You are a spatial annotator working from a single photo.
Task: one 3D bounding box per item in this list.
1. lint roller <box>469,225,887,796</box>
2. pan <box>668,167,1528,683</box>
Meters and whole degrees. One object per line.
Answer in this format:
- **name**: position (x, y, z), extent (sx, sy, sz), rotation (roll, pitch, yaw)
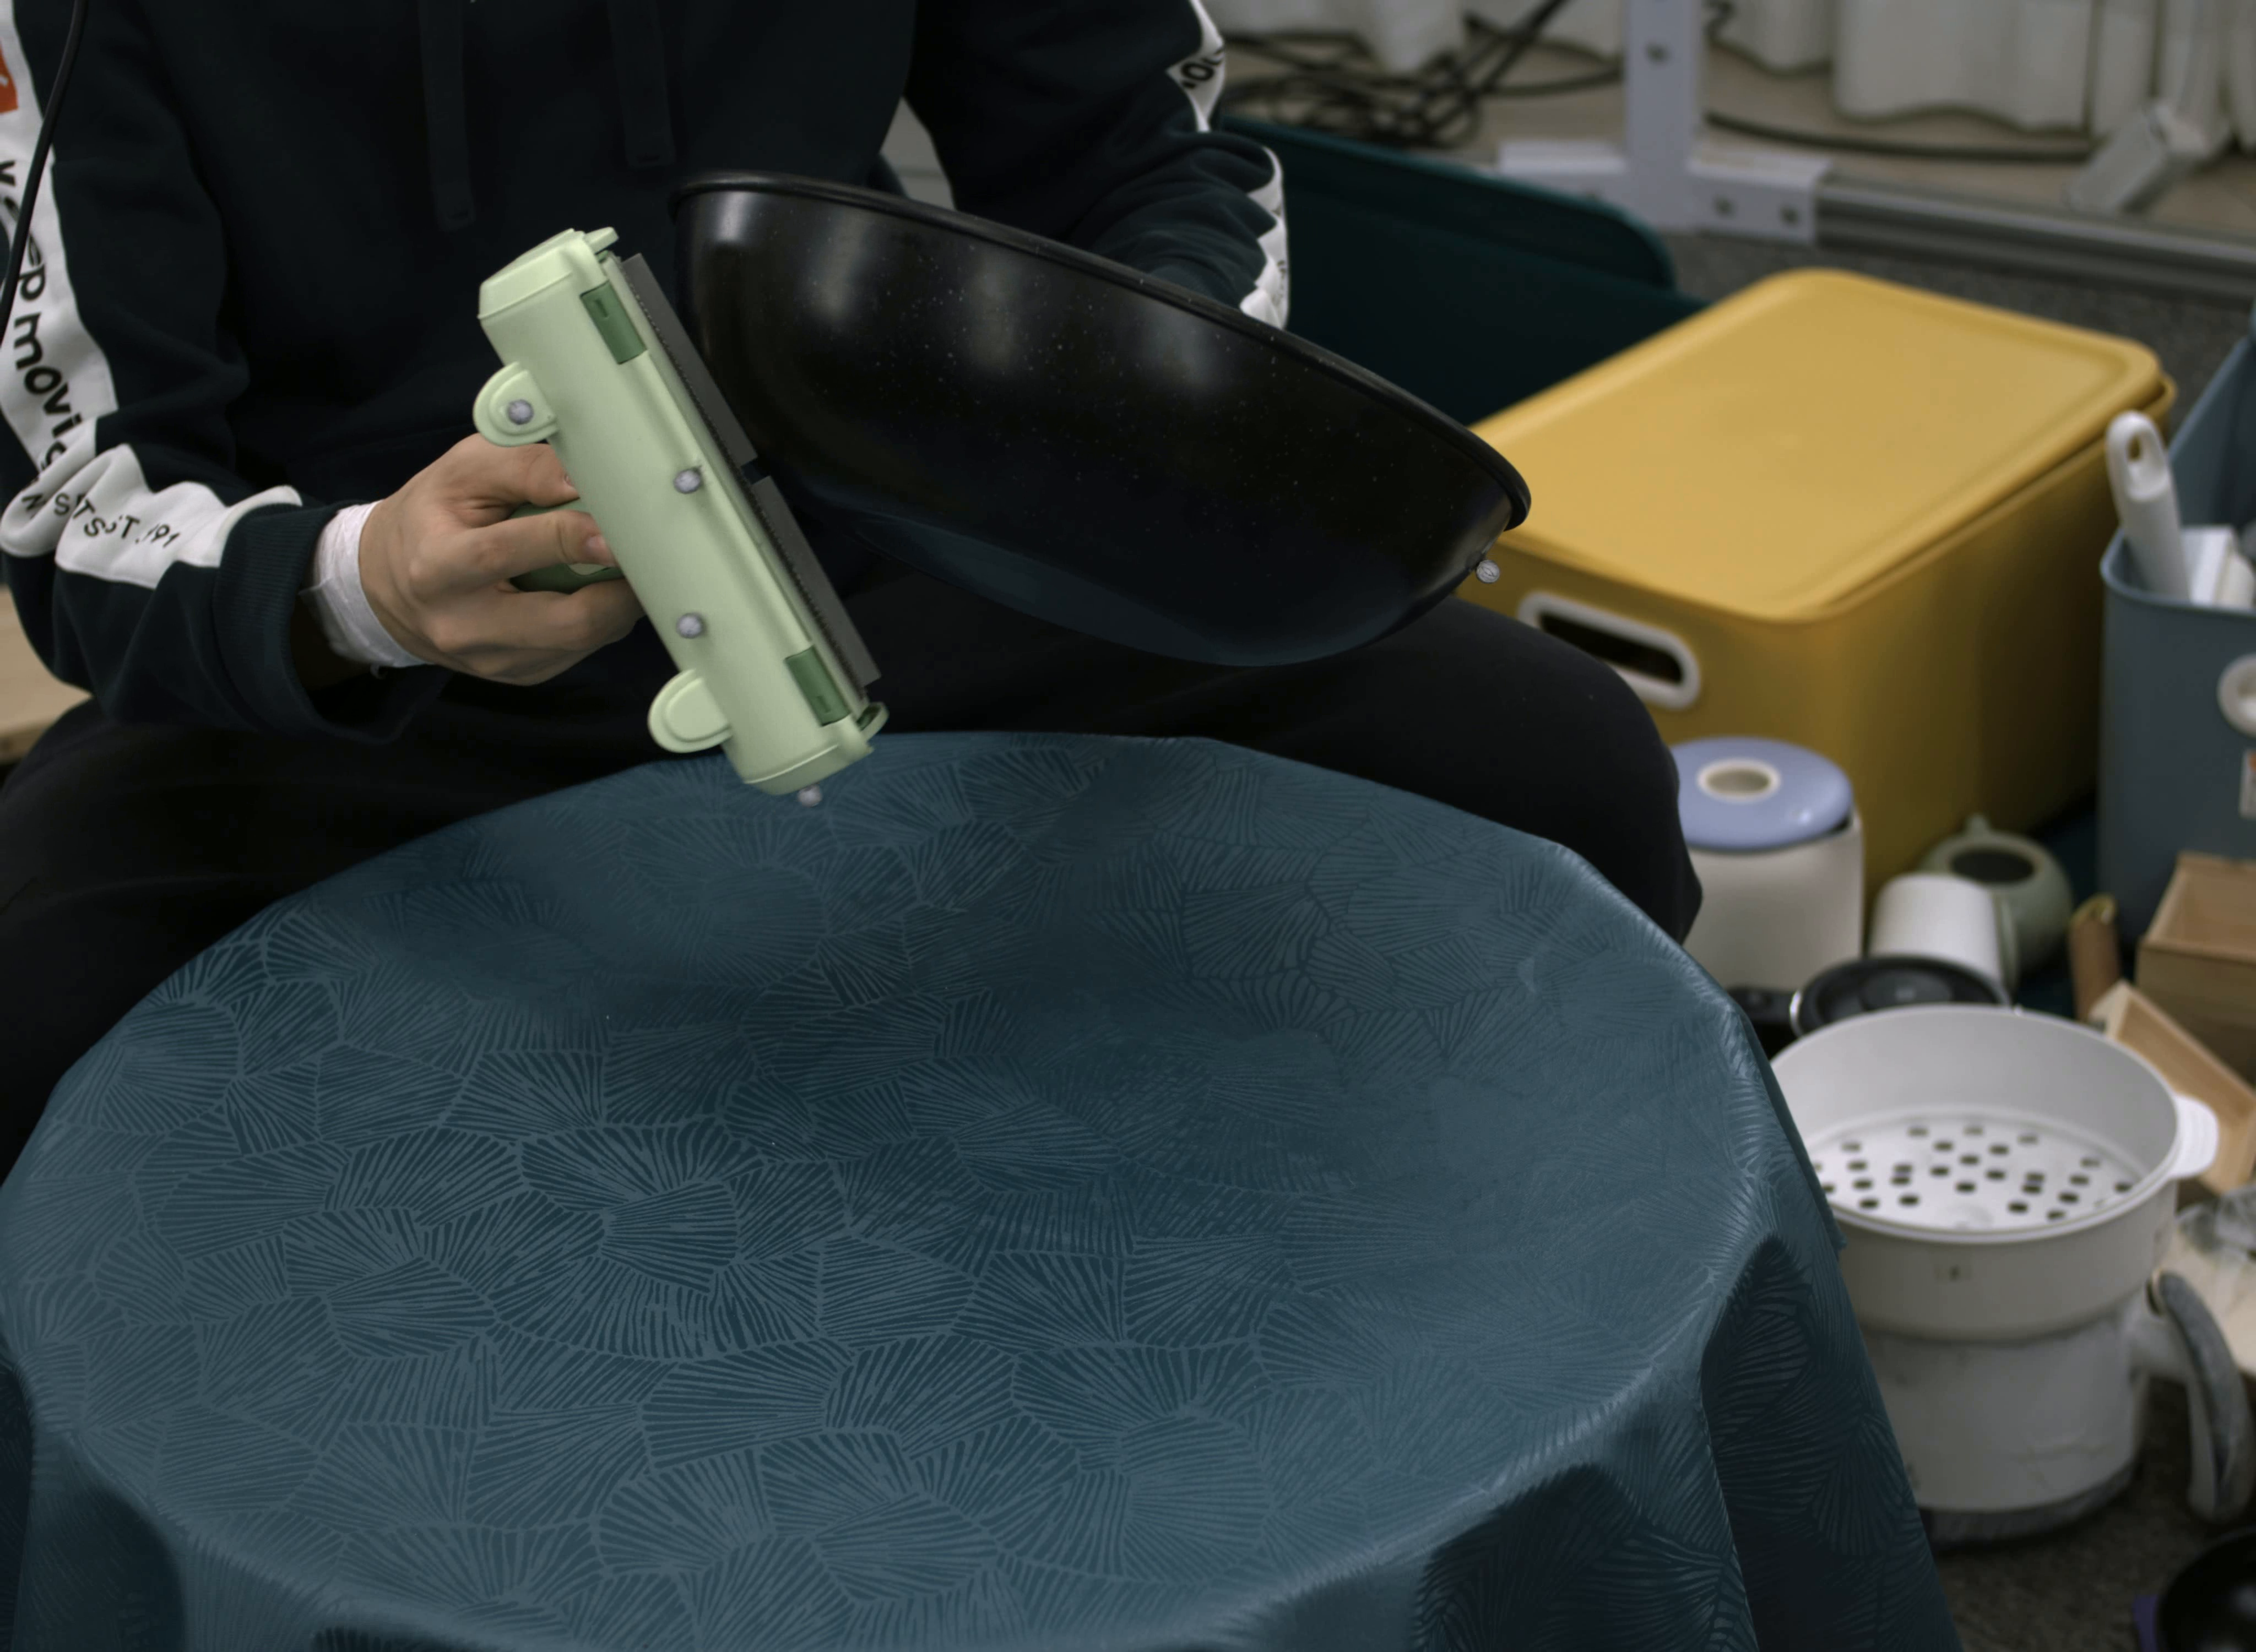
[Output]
- **lint roller**: position (-0.185, -0.090, 1.889), extent (0.181, 0.198, 0.083), rotation (-18, 14, 49)
- **pan**: position (-0.017, -0.121, 1.974), extent (0.309, 0.112, 0.475), rotation (21, -5, 4)
